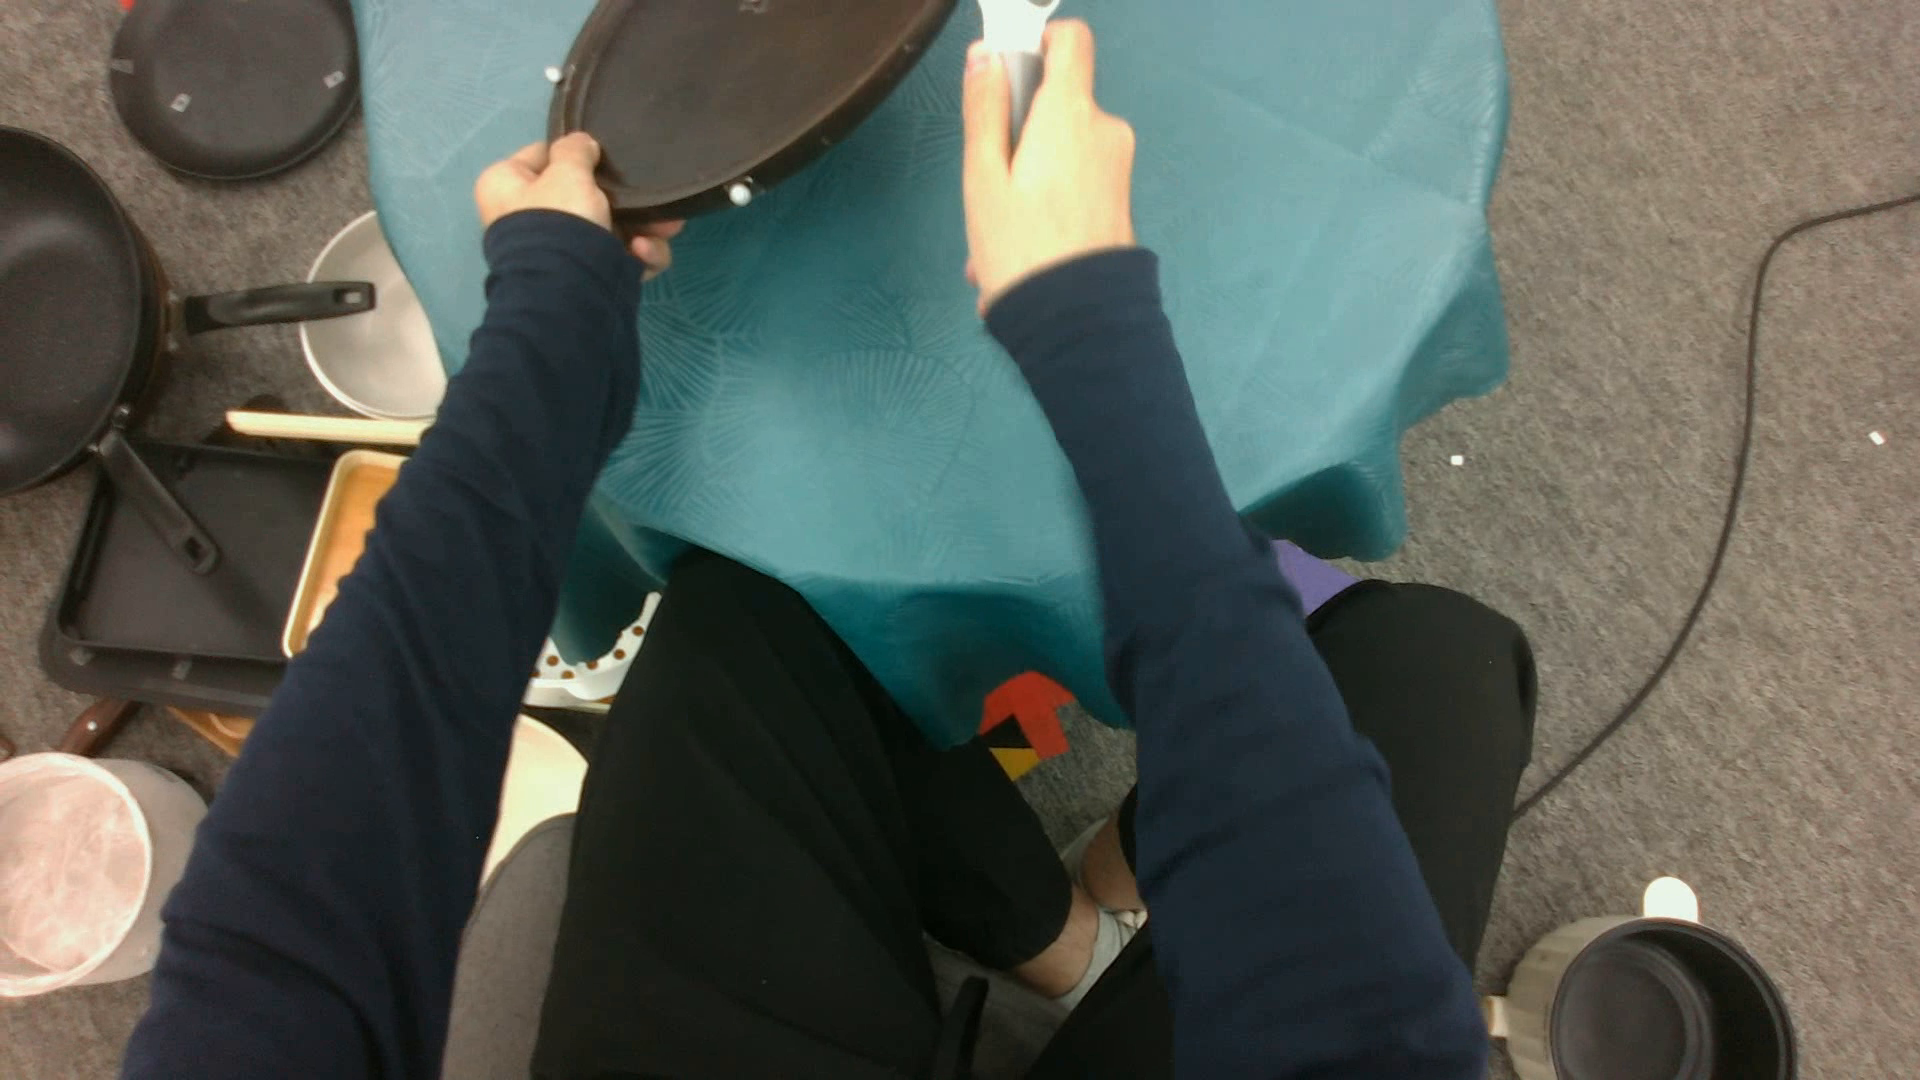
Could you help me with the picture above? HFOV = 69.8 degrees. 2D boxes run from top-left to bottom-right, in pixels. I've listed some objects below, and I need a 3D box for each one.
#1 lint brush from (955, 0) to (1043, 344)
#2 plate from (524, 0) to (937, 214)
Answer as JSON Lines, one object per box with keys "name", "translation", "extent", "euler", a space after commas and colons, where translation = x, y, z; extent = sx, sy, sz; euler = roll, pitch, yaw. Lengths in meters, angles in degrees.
{"name": "lint brush", "translation": [0.013, -0.231, 0.560], "extent": [0.021, 0.060, 0.309], "euler": [-7, 83, 34]}
{"name": "plate", "translation": [-0.101, -0.254, 0.642], "extent": [0.254, 0.029, 0.256], "euler": [-18, 53, 25]}
